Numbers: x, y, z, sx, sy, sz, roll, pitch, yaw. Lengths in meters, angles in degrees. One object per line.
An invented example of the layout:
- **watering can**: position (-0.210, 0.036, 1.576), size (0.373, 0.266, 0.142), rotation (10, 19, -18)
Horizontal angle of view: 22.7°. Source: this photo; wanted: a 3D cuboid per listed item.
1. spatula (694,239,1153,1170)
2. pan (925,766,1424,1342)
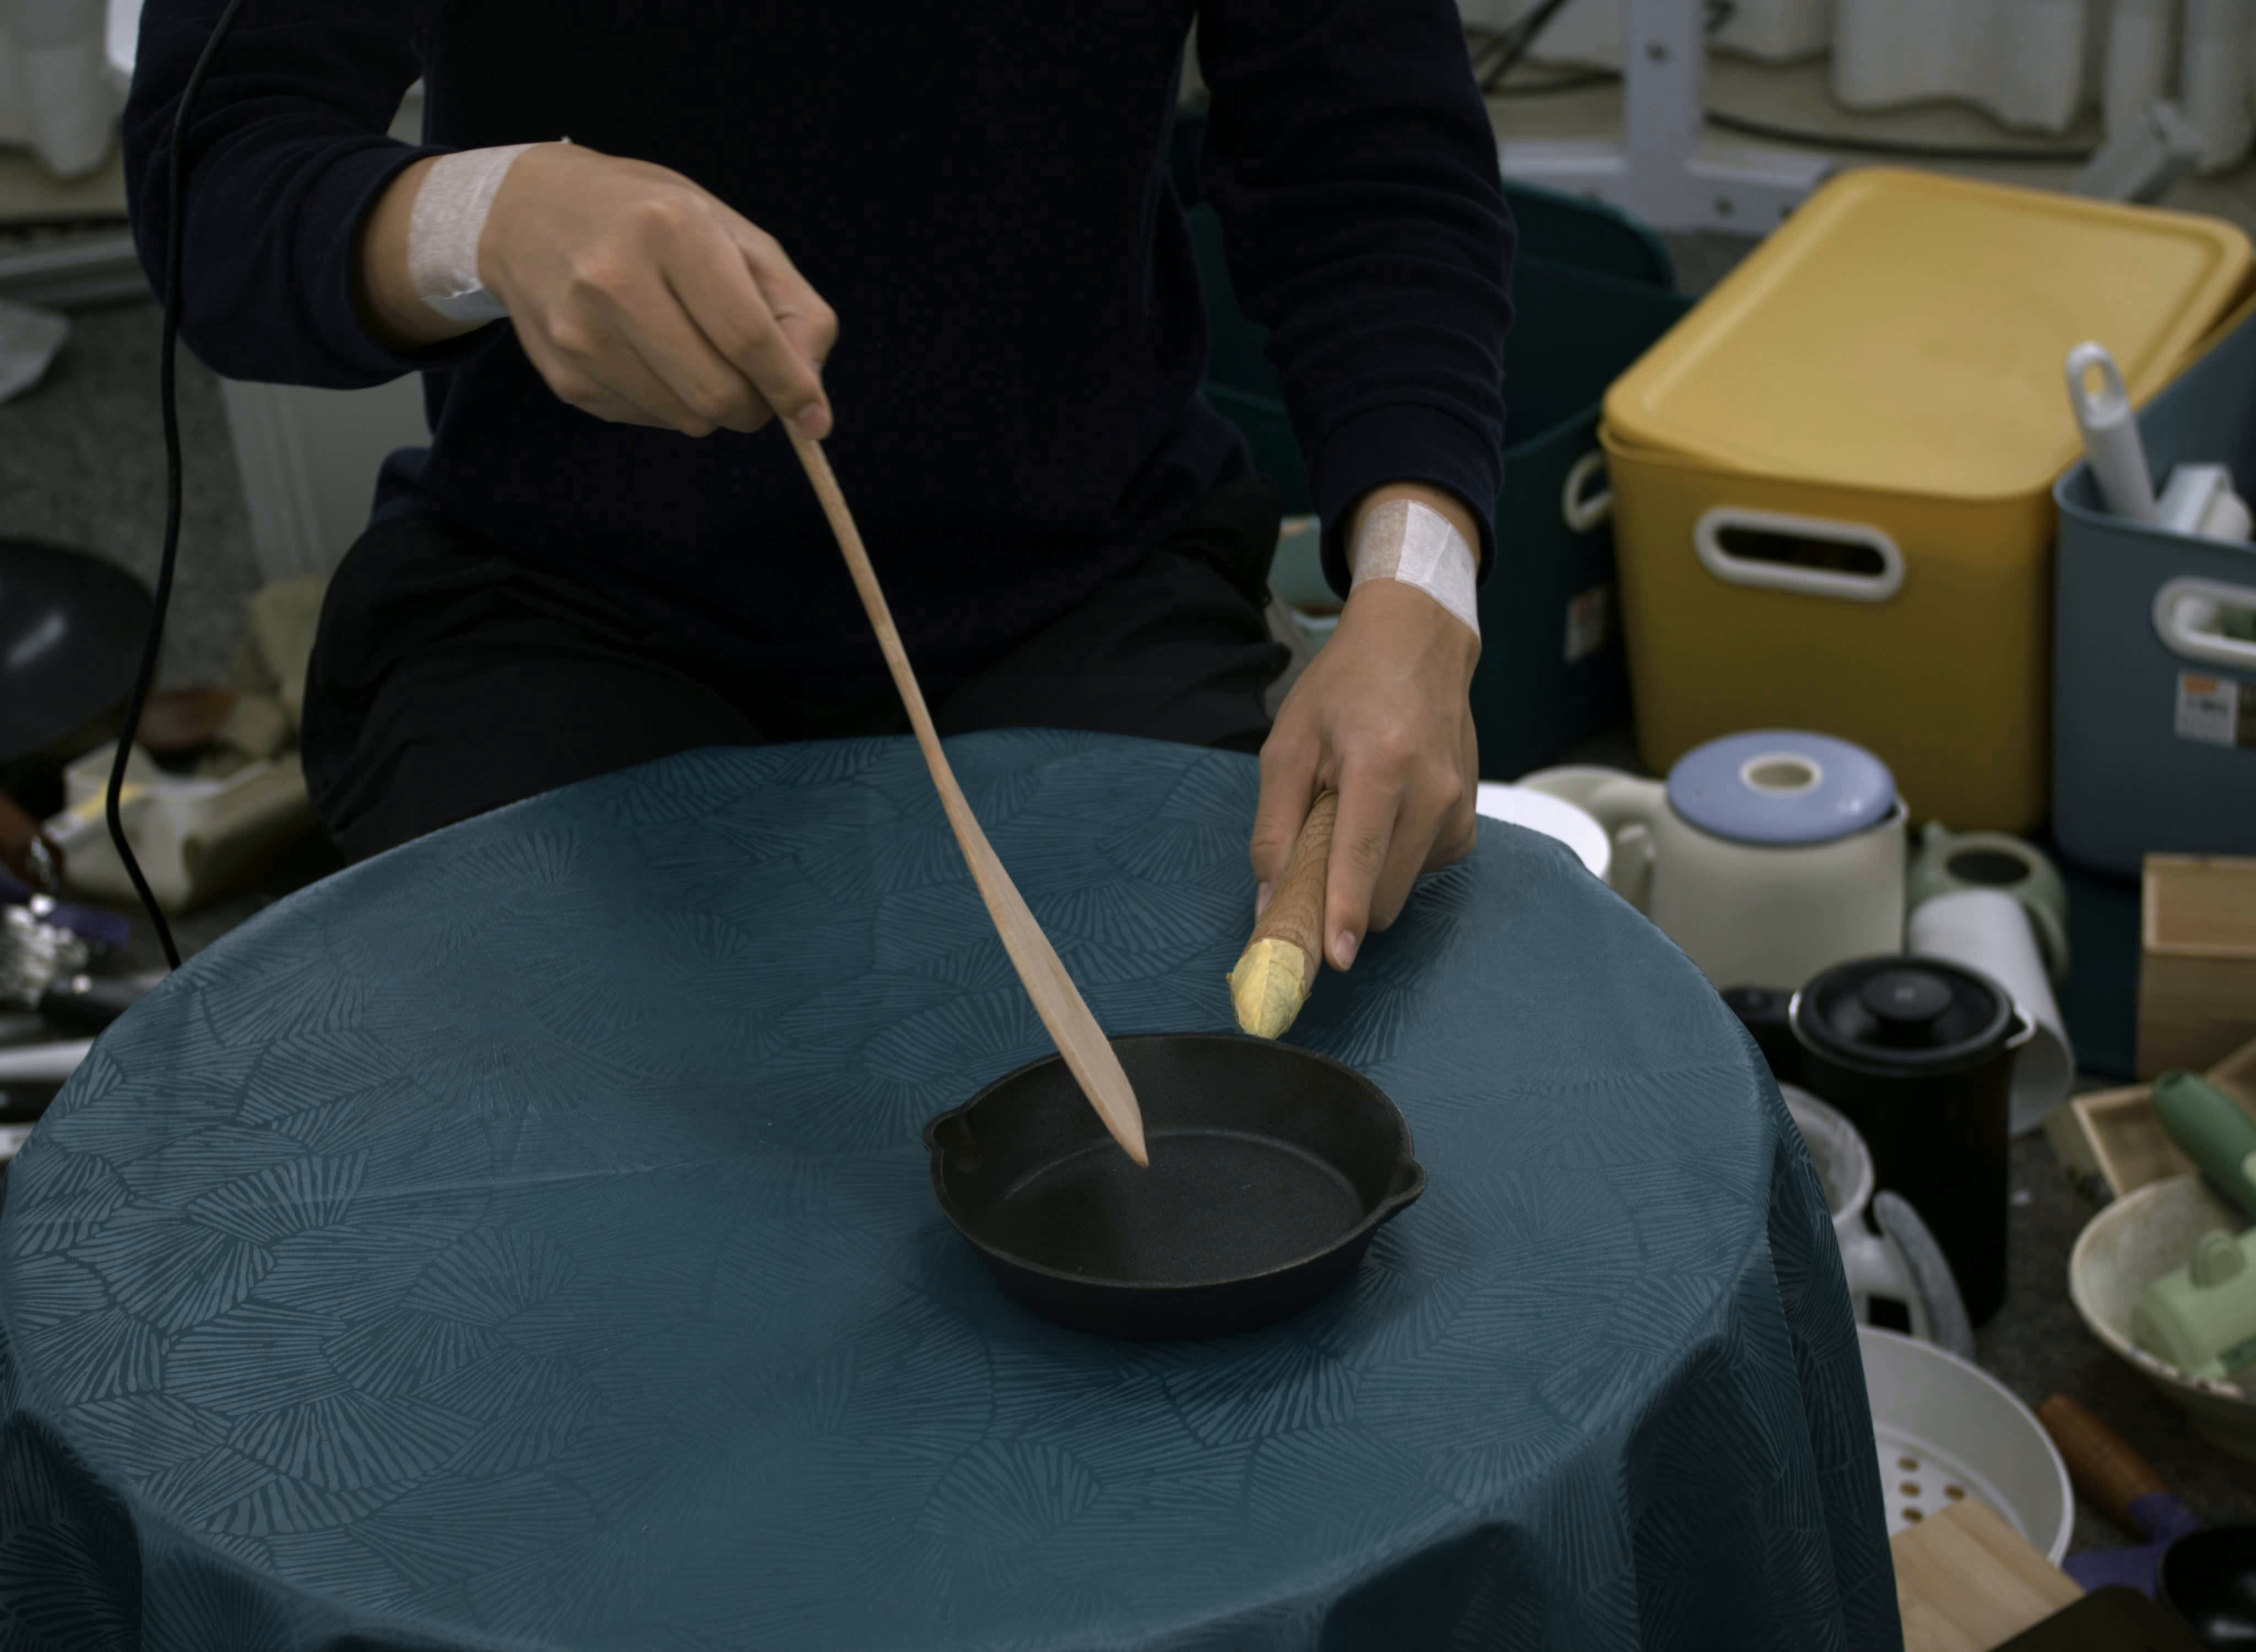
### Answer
- **spatula**: position (-0.065, -0.040, 1.800), size (0.016, 0.326, 0.080), rotation (-23, 14, 4)
- **pan**: position (0.041, 0.074, 1.896), size (0.168, 0.049, 0.330), rotation (6, 30, 18)
